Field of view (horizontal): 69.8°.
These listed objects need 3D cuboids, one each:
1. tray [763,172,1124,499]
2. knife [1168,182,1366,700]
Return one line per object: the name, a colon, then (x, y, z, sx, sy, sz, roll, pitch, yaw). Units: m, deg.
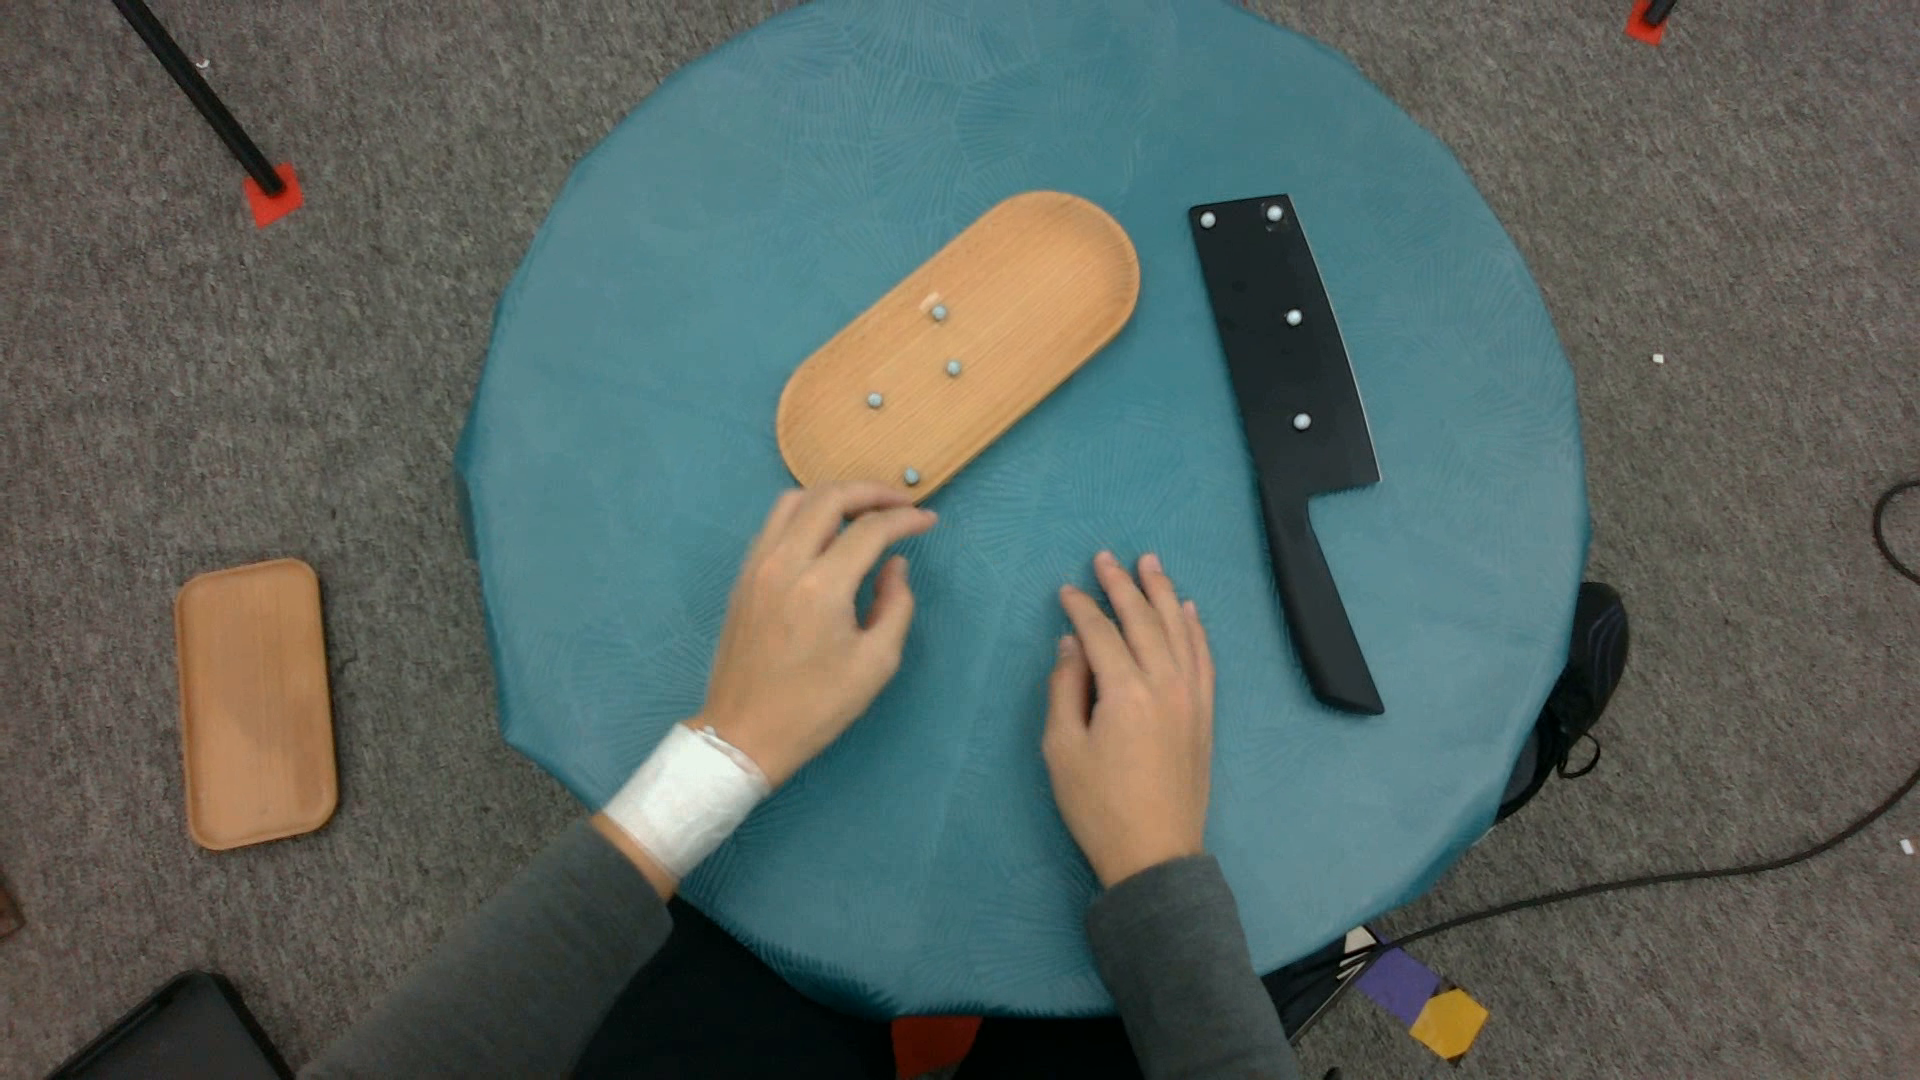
tray: (-0.007, -0.113, 0.749, 0.232, 0.020, 0.102, -42, 81, -15)
knife: (0.175, -0.062, 0.744, 0.081, 0.021, 0.303, -5, 72, -5)
